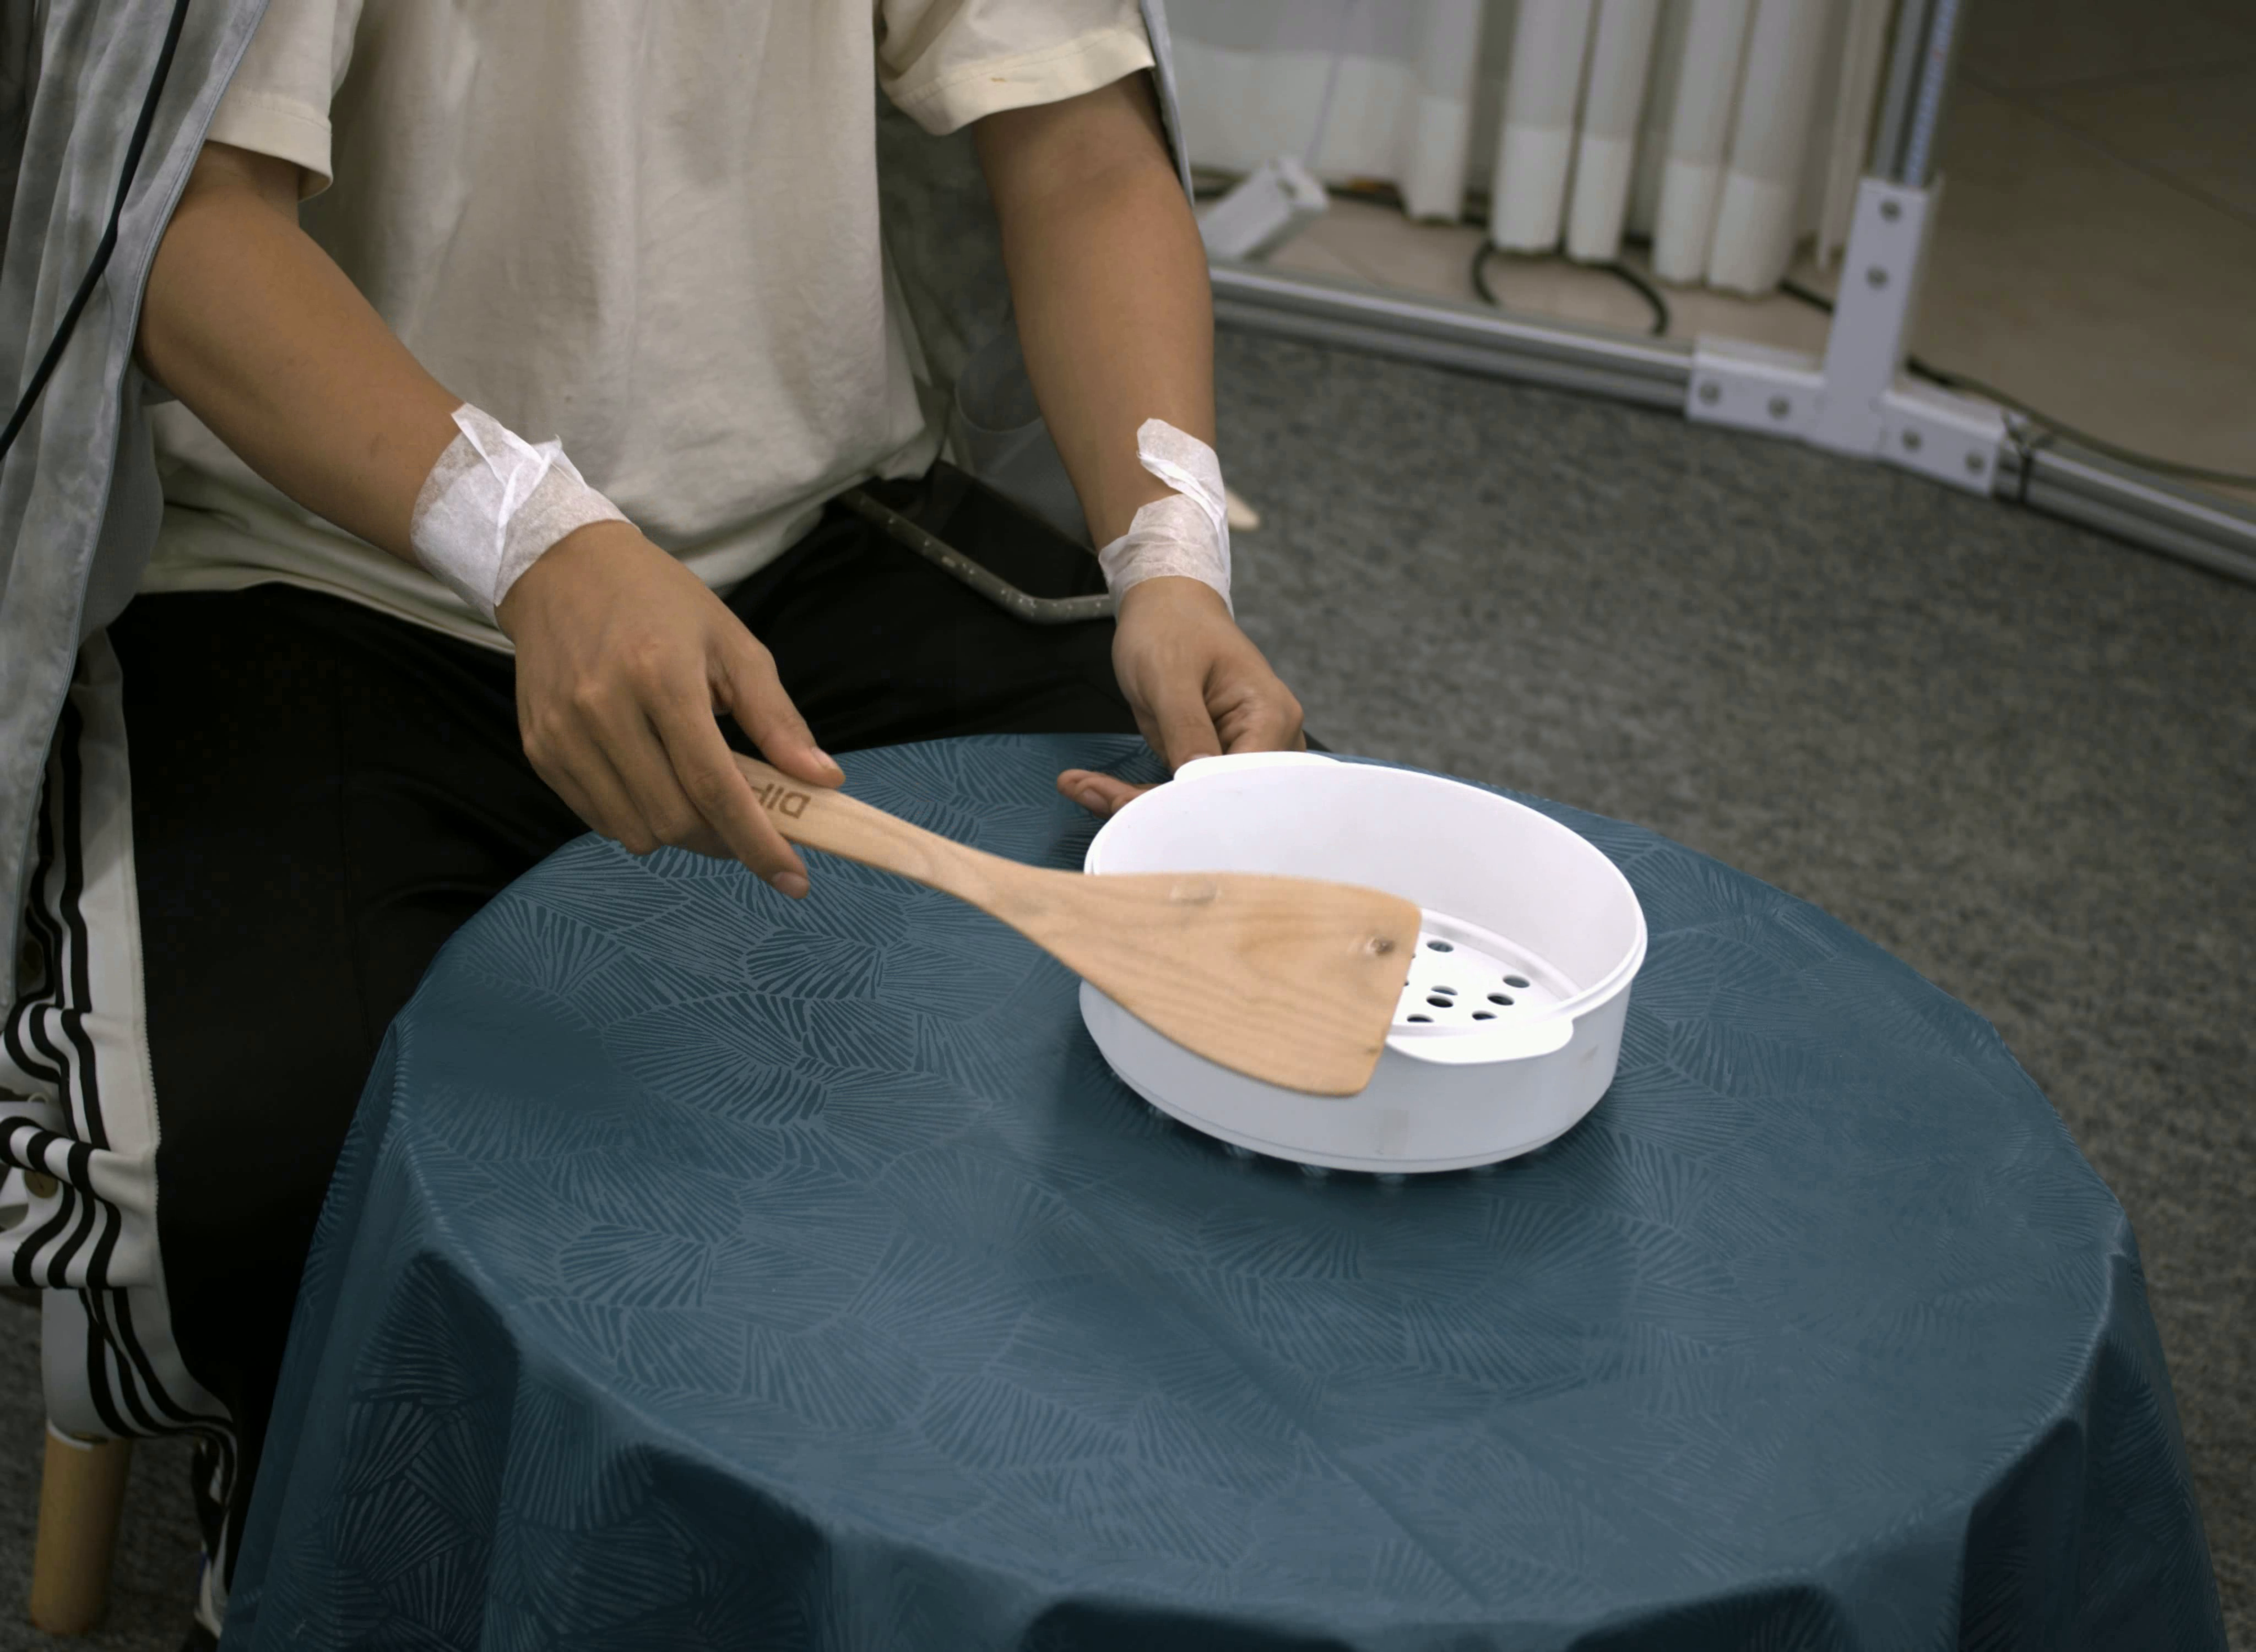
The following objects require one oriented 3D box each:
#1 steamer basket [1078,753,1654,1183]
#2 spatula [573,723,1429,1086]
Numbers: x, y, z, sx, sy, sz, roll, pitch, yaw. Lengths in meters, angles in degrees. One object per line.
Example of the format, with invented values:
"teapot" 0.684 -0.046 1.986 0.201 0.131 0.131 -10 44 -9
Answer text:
"steamer basket" 0.082 0.052 1.887 0.200 0.069 0.232 -2 29 -22
"spatula" -0.048 0.013 1.783 0.329 0.016 0.080 17 64 24
